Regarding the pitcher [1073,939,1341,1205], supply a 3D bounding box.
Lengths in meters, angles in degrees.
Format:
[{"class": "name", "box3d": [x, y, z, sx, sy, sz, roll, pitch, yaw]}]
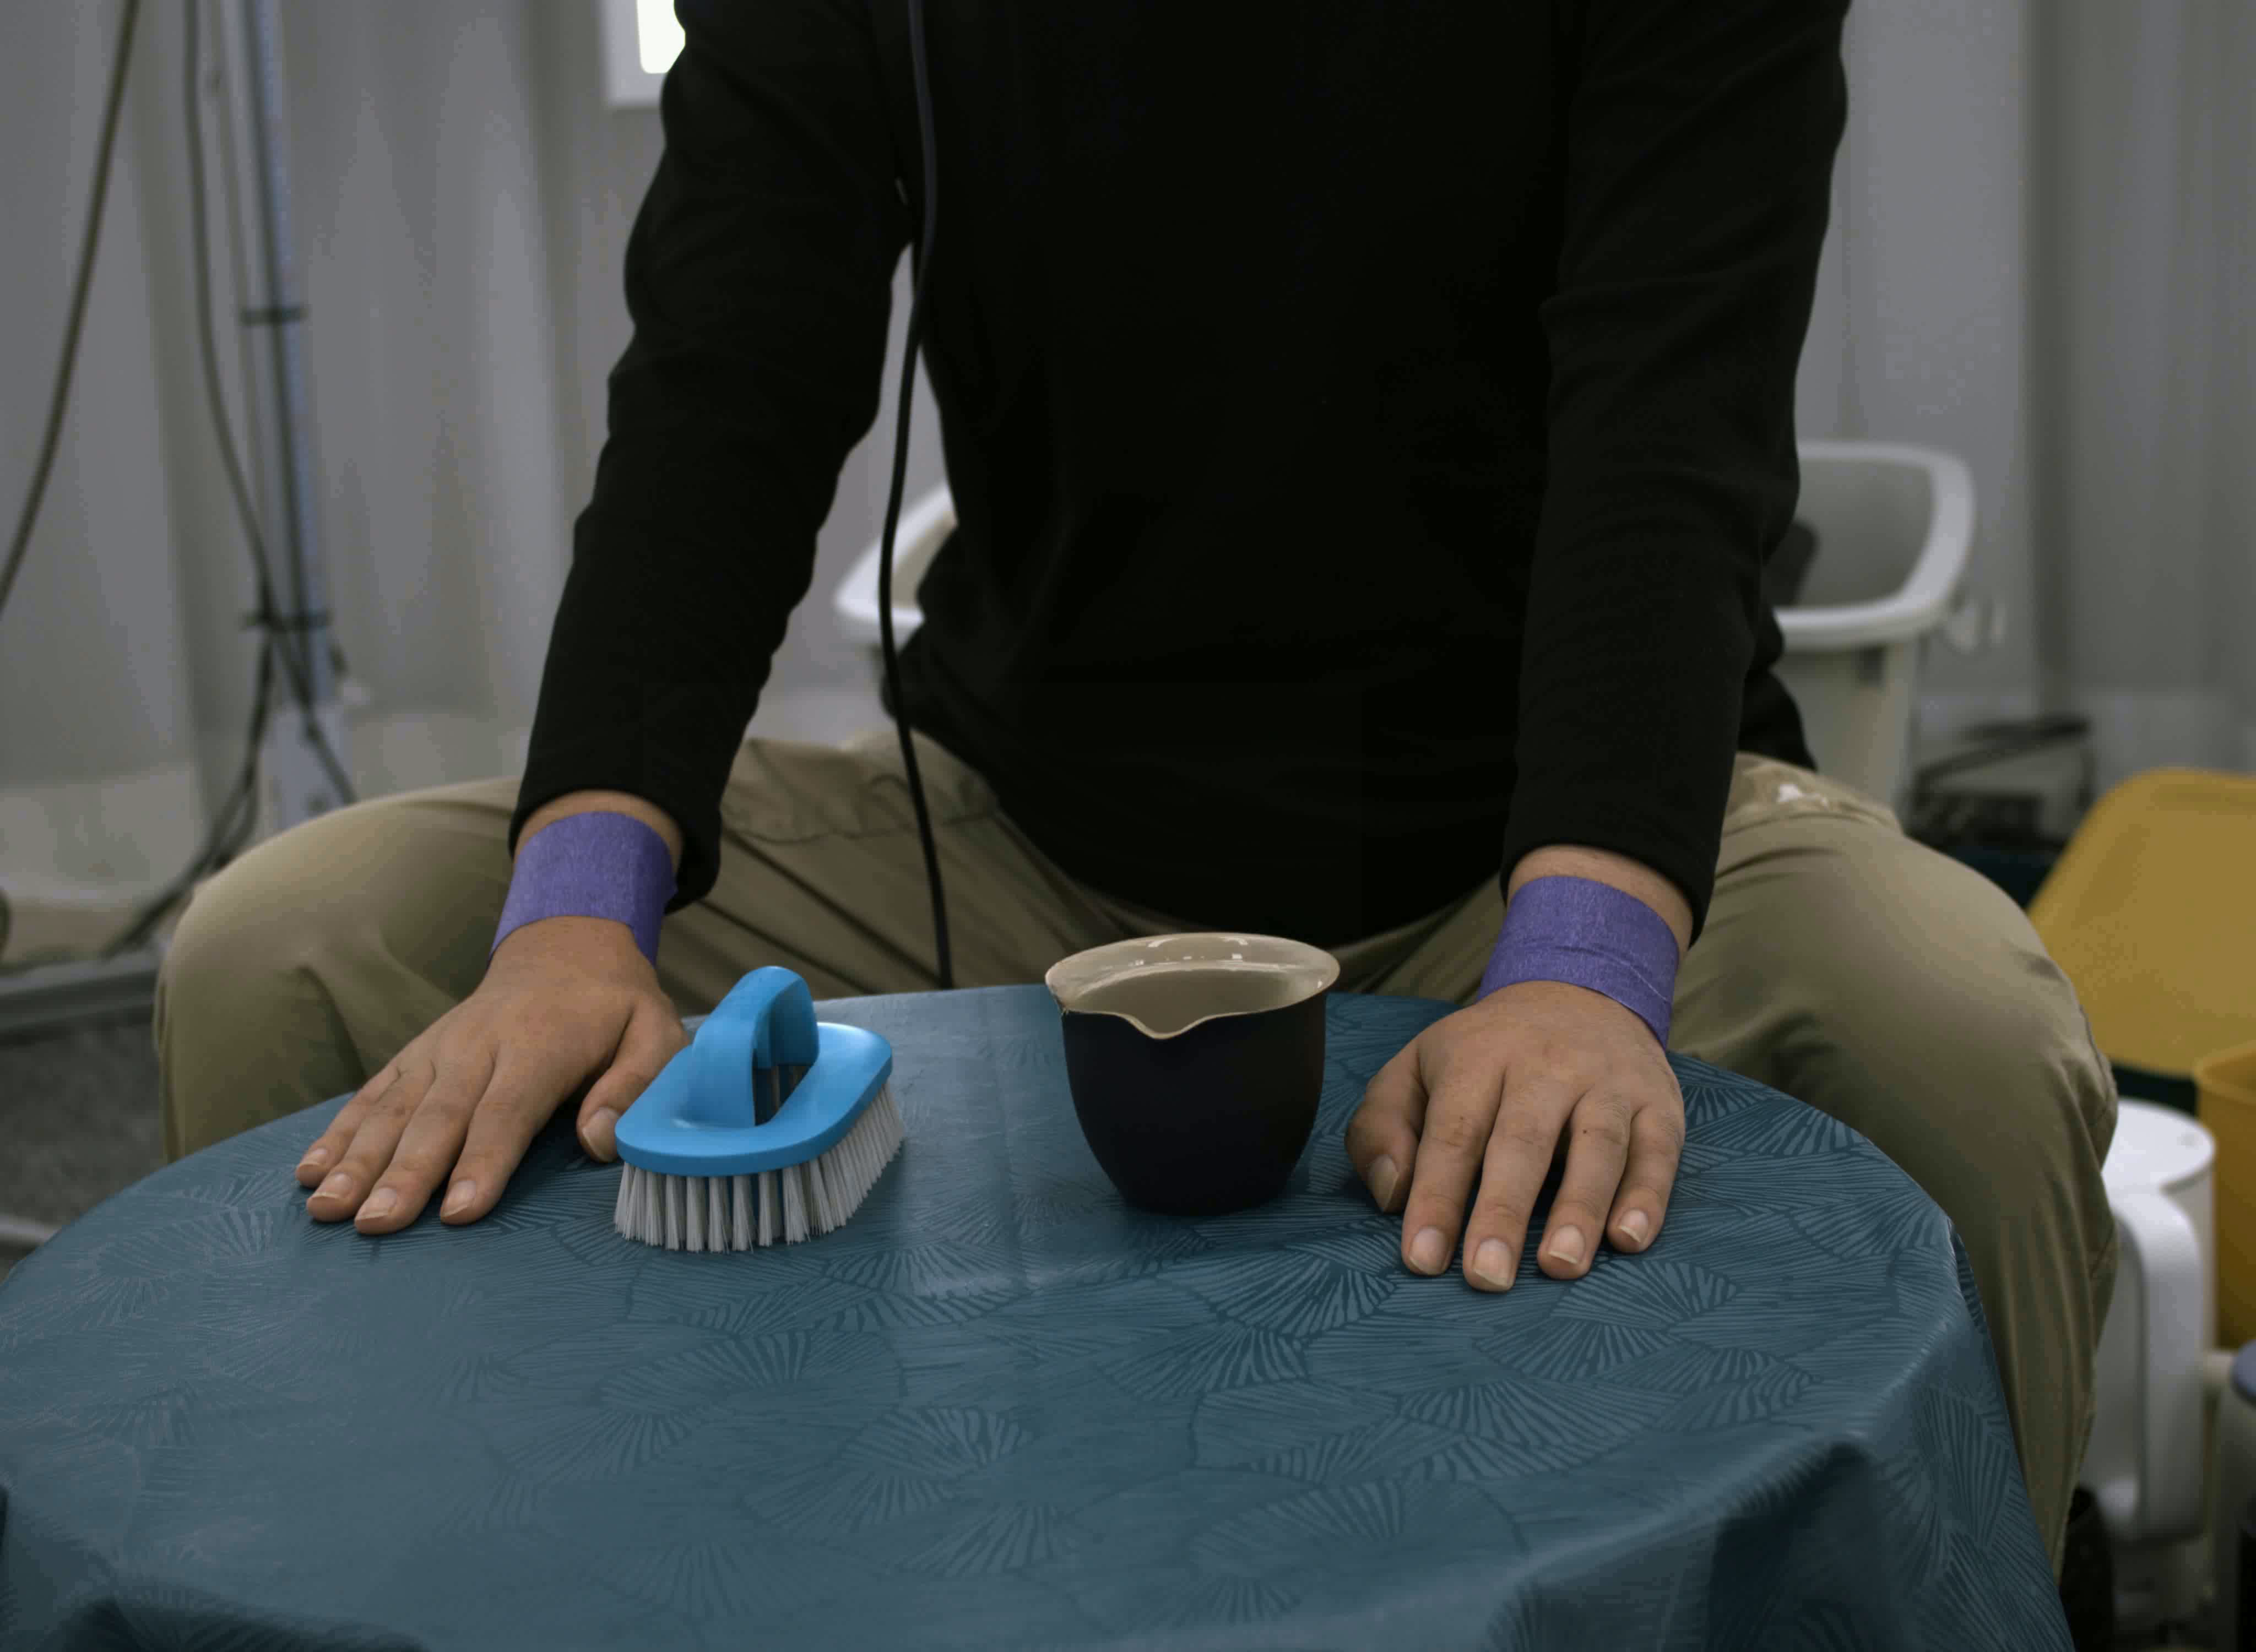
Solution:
[{"class": "pitcher", "box3d": [0.024, 0.078, 1.703, 0.083, 0.071, 0.096, 3, 17, 17]}]

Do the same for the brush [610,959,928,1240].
[{"class": "brush", "box3d": [-0.116, 0.081, 1.737, 0.084, 0.063, 0.142, -4, 13, 13]}]
